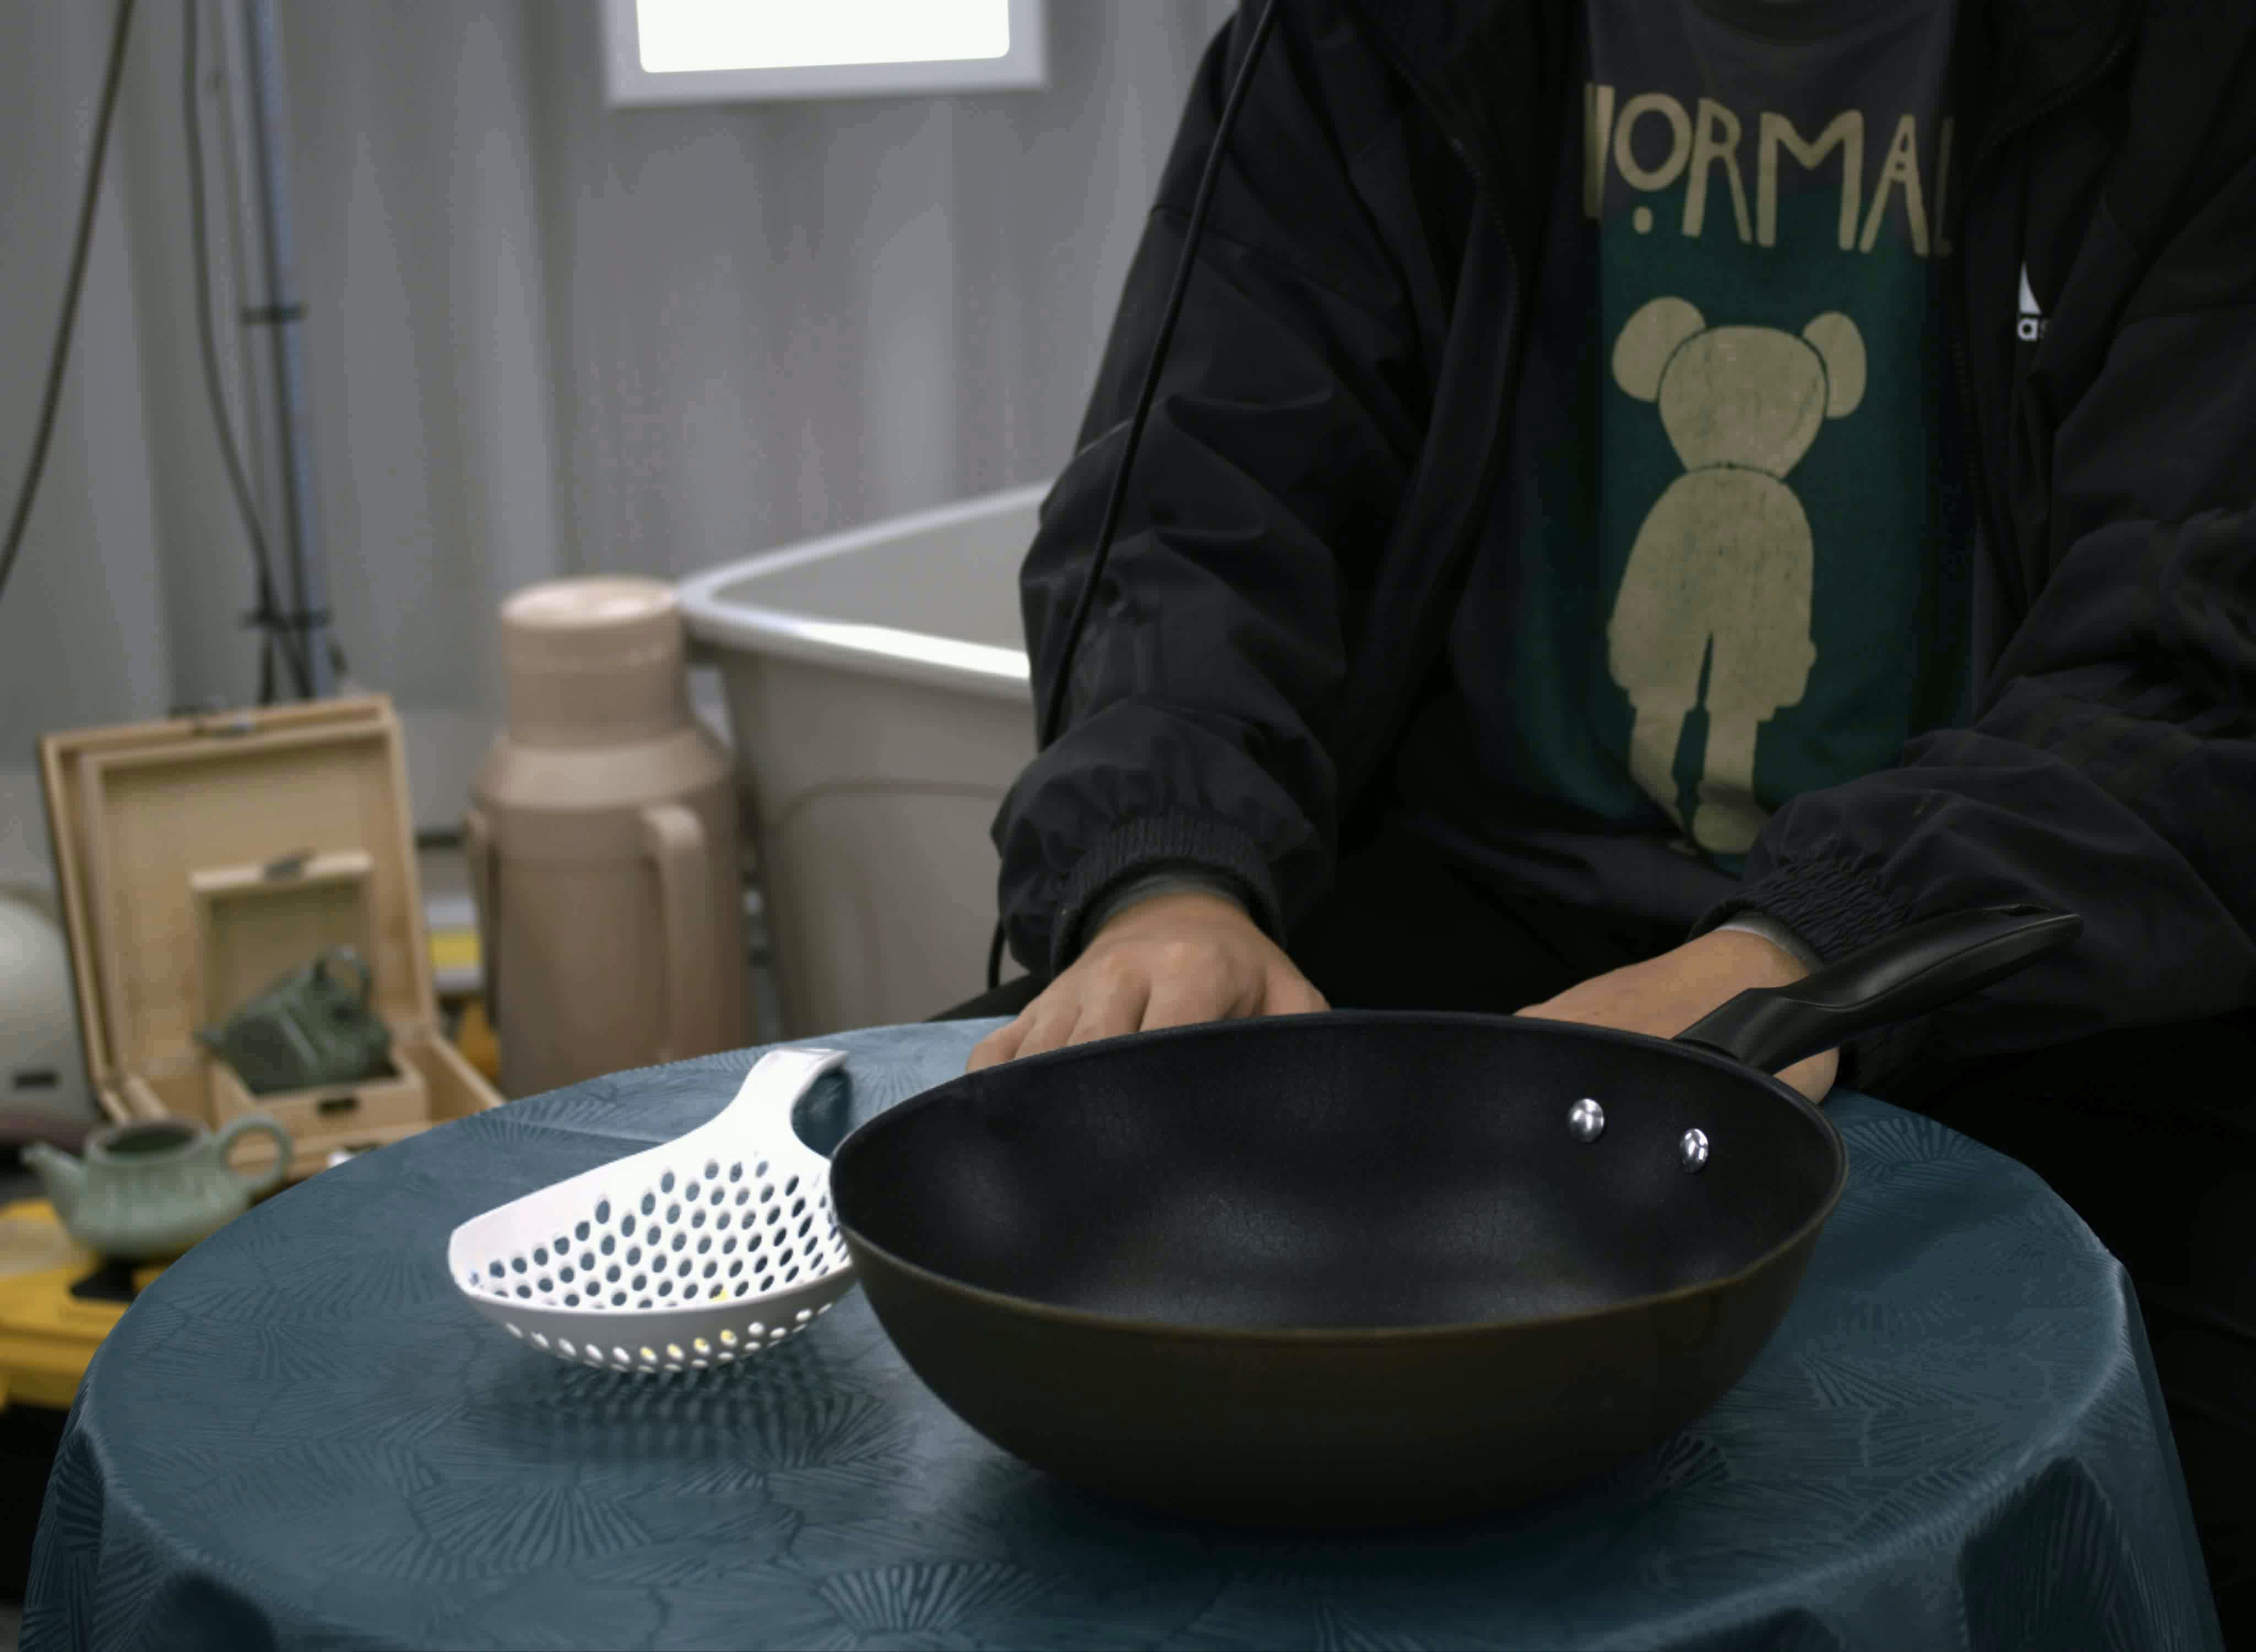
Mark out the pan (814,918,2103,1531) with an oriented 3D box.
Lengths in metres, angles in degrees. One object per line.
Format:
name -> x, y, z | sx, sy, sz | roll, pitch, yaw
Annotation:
pan -> 0.121, 0.108, 1.555 | 0.462, 0.086, 0.290 | -15, 19, -41

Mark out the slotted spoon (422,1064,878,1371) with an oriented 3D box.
slotted spoon -> -0.120, 0.107, 1.688 | 0.136, 0.050, 0.350 | -3, 15, 8
